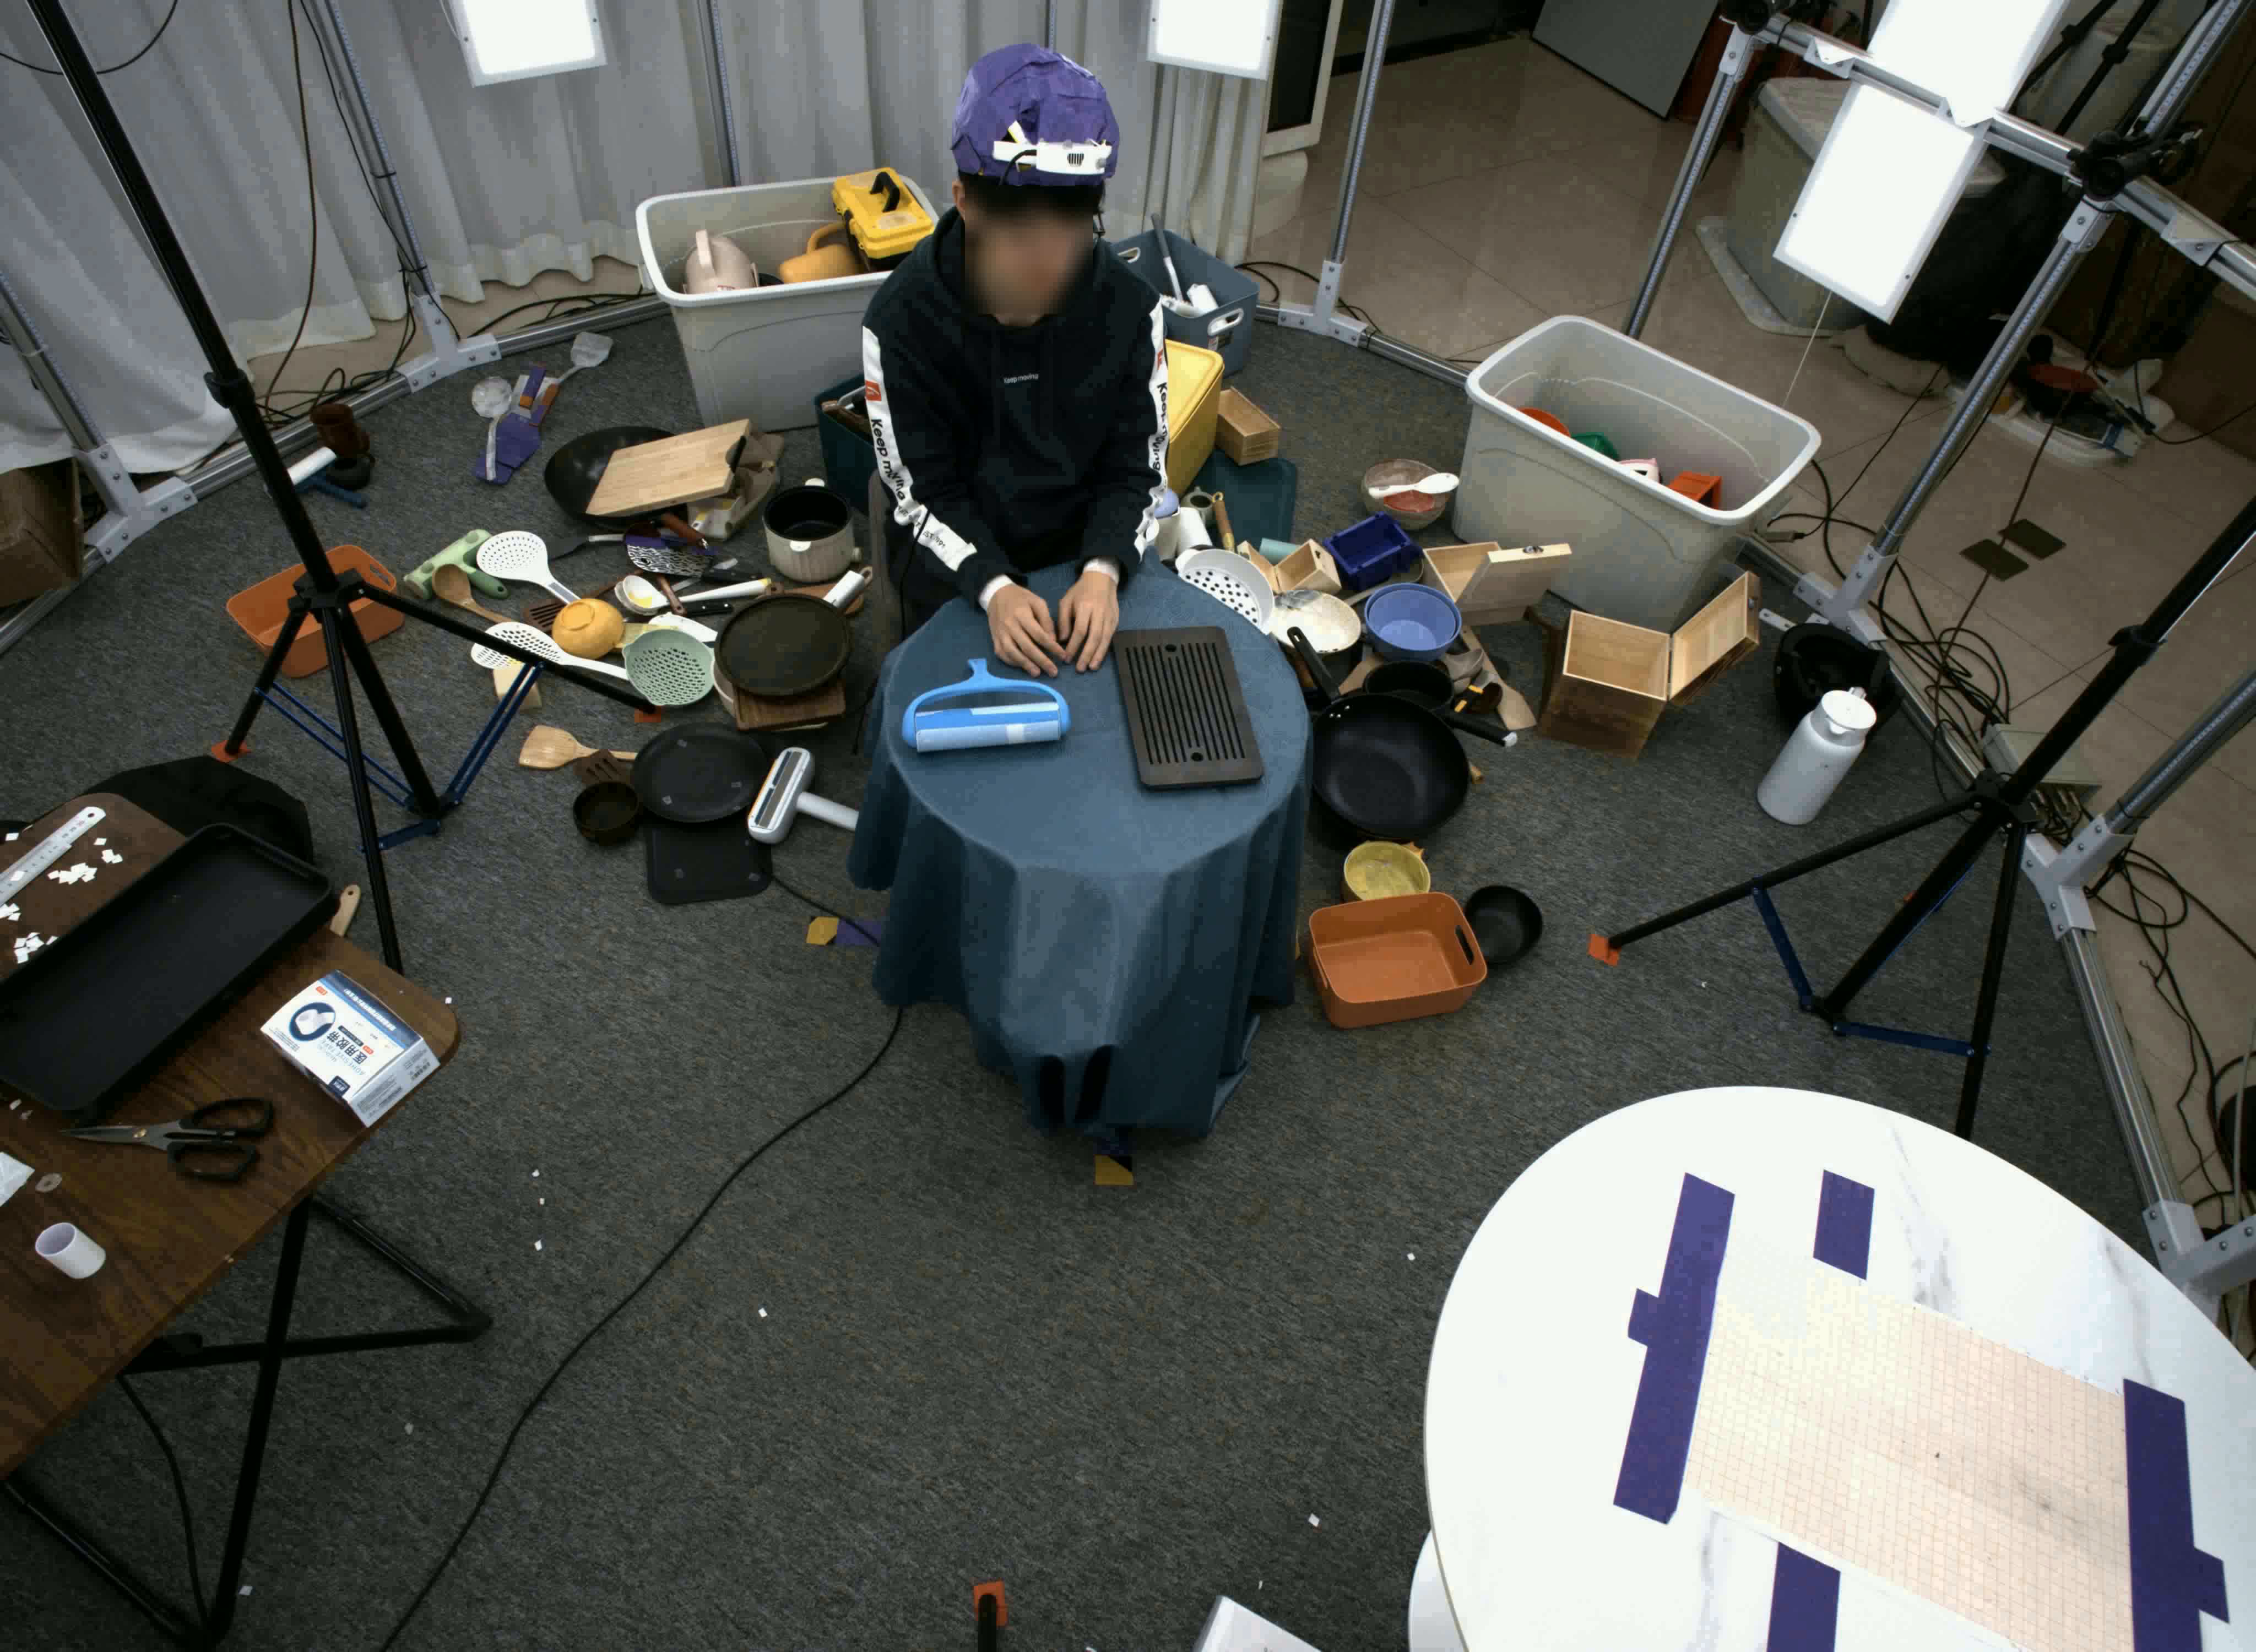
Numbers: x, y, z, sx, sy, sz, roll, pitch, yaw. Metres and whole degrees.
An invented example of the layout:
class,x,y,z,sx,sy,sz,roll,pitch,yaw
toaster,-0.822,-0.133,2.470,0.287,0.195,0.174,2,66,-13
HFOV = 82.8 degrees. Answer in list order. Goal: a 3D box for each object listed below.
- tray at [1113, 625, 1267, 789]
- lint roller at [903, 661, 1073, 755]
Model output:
class,x,y,z,sx,sy,sz,roll,pitch,yaw
tray,0.082,-0.172,1.811,0.170,0.018,0.314,-5,50,-7
lint roller,-0.201,-0.180,1.774,0.229,0.066,0.185,-9,52,-9
